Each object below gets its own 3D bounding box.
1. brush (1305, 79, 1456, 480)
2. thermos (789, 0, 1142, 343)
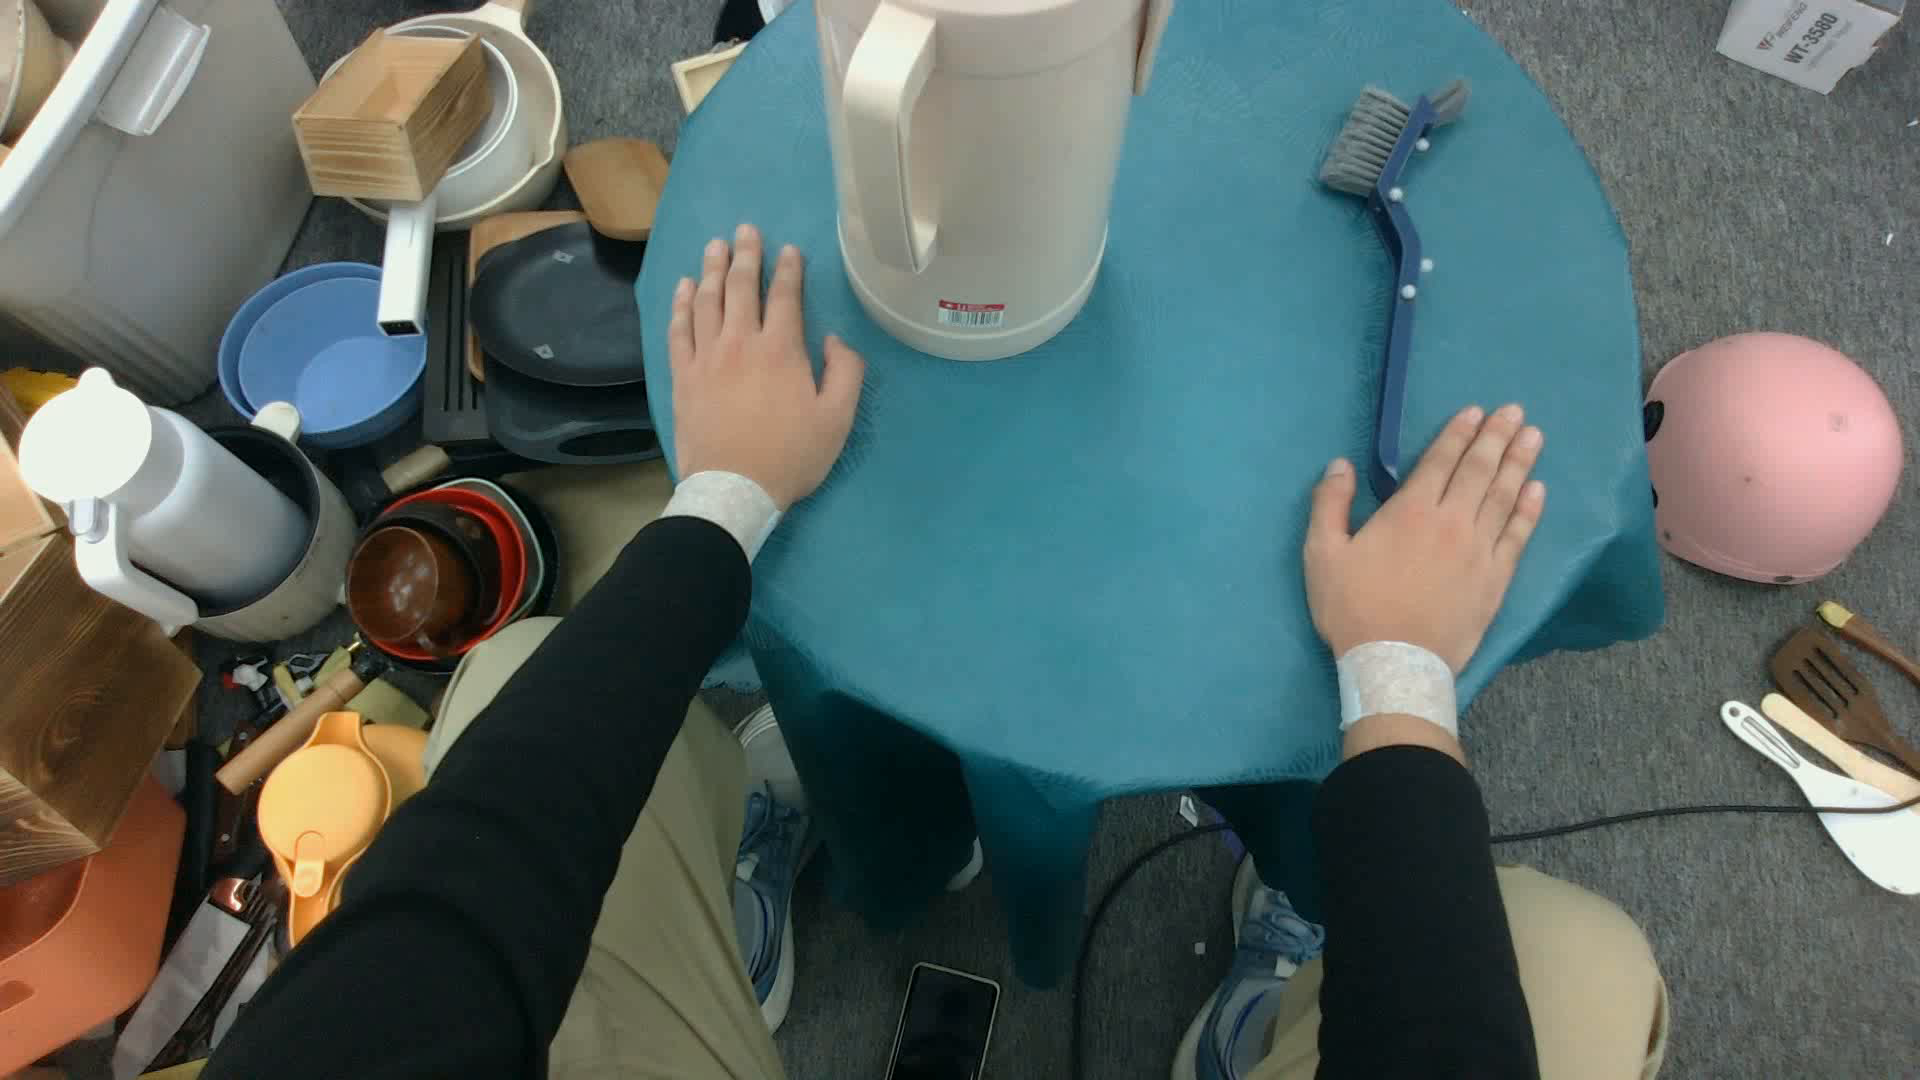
[{"bbox_3d":[0.257,-0.163,0.819,0.096,0.033,0.274,3,69,0],"label":"brush"},{"bbox_3d":[-0.009,-0.239,0.645,0.175,0.405,0.207,22,72,4],"label":"thermos"}]
